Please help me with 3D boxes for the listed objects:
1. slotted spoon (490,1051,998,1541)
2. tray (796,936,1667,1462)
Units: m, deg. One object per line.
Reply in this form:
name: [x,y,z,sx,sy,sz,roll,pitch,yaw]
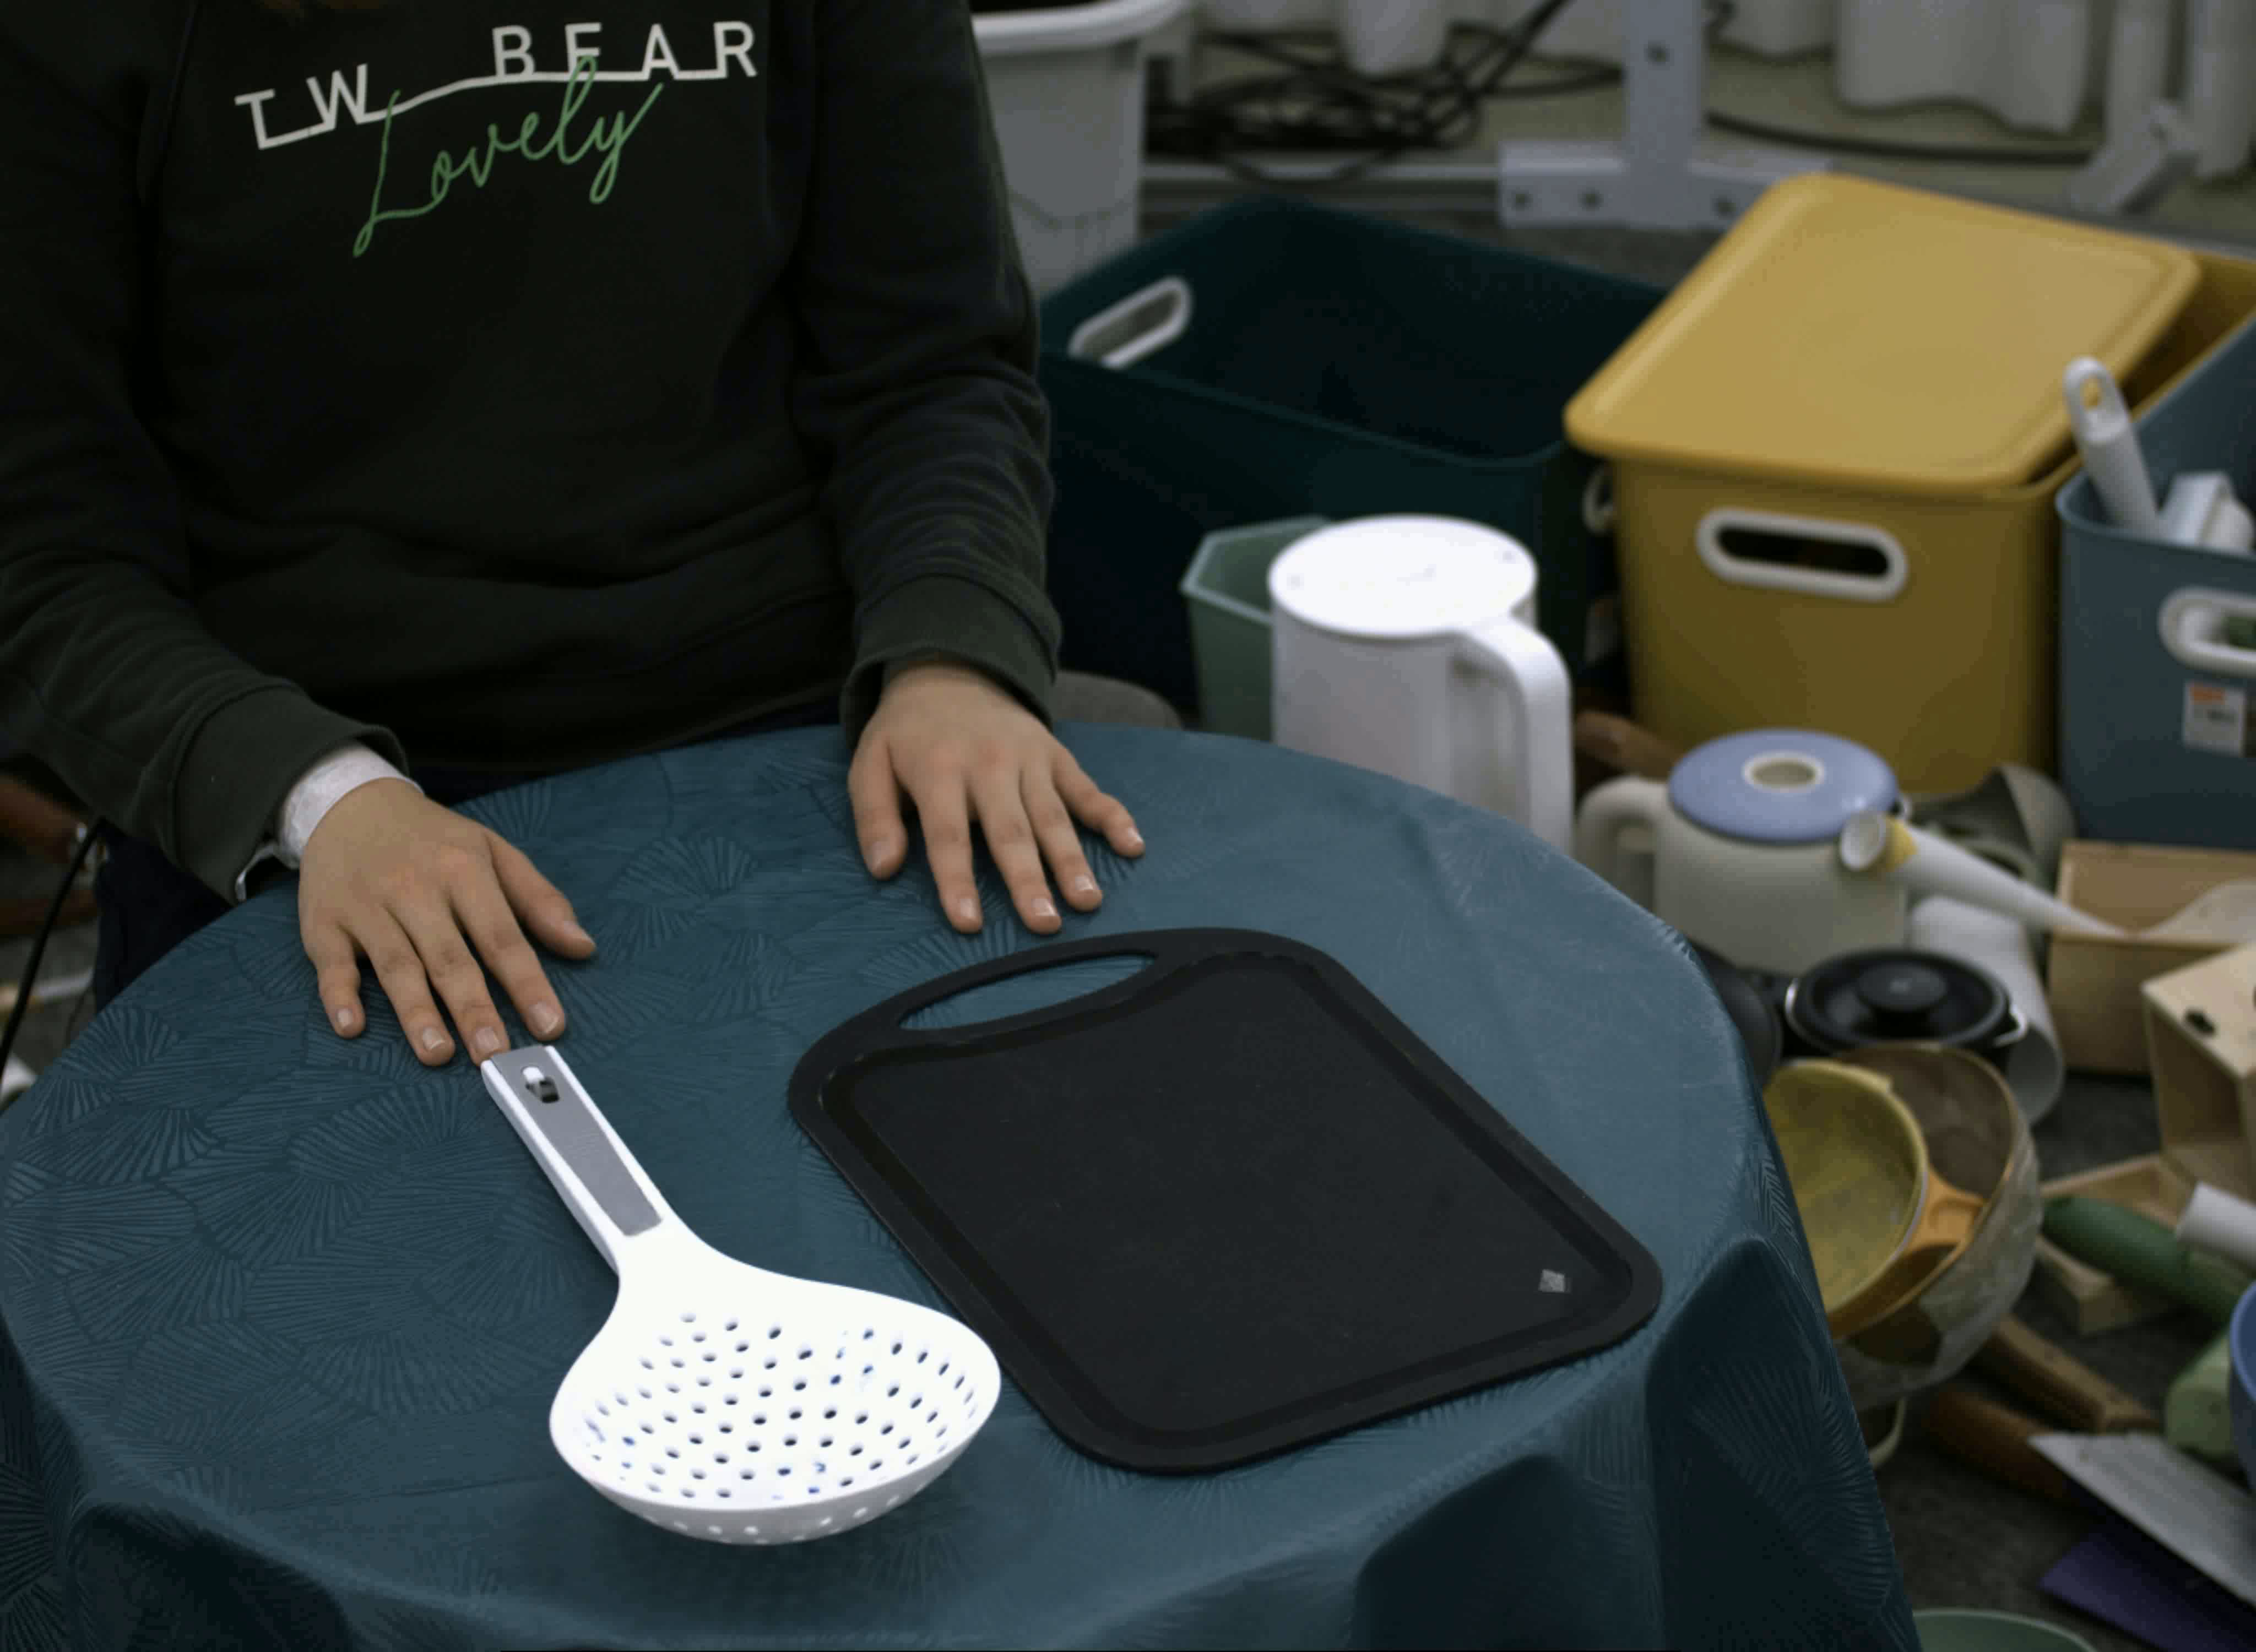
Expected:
slotted spoon: [-0.146,0.143,1.786,0.136,0.045,0.352,-11,27,-19]
tray: [0.024,0.114,1.866,0.212,0.009,0.327,-14,29,-21]
